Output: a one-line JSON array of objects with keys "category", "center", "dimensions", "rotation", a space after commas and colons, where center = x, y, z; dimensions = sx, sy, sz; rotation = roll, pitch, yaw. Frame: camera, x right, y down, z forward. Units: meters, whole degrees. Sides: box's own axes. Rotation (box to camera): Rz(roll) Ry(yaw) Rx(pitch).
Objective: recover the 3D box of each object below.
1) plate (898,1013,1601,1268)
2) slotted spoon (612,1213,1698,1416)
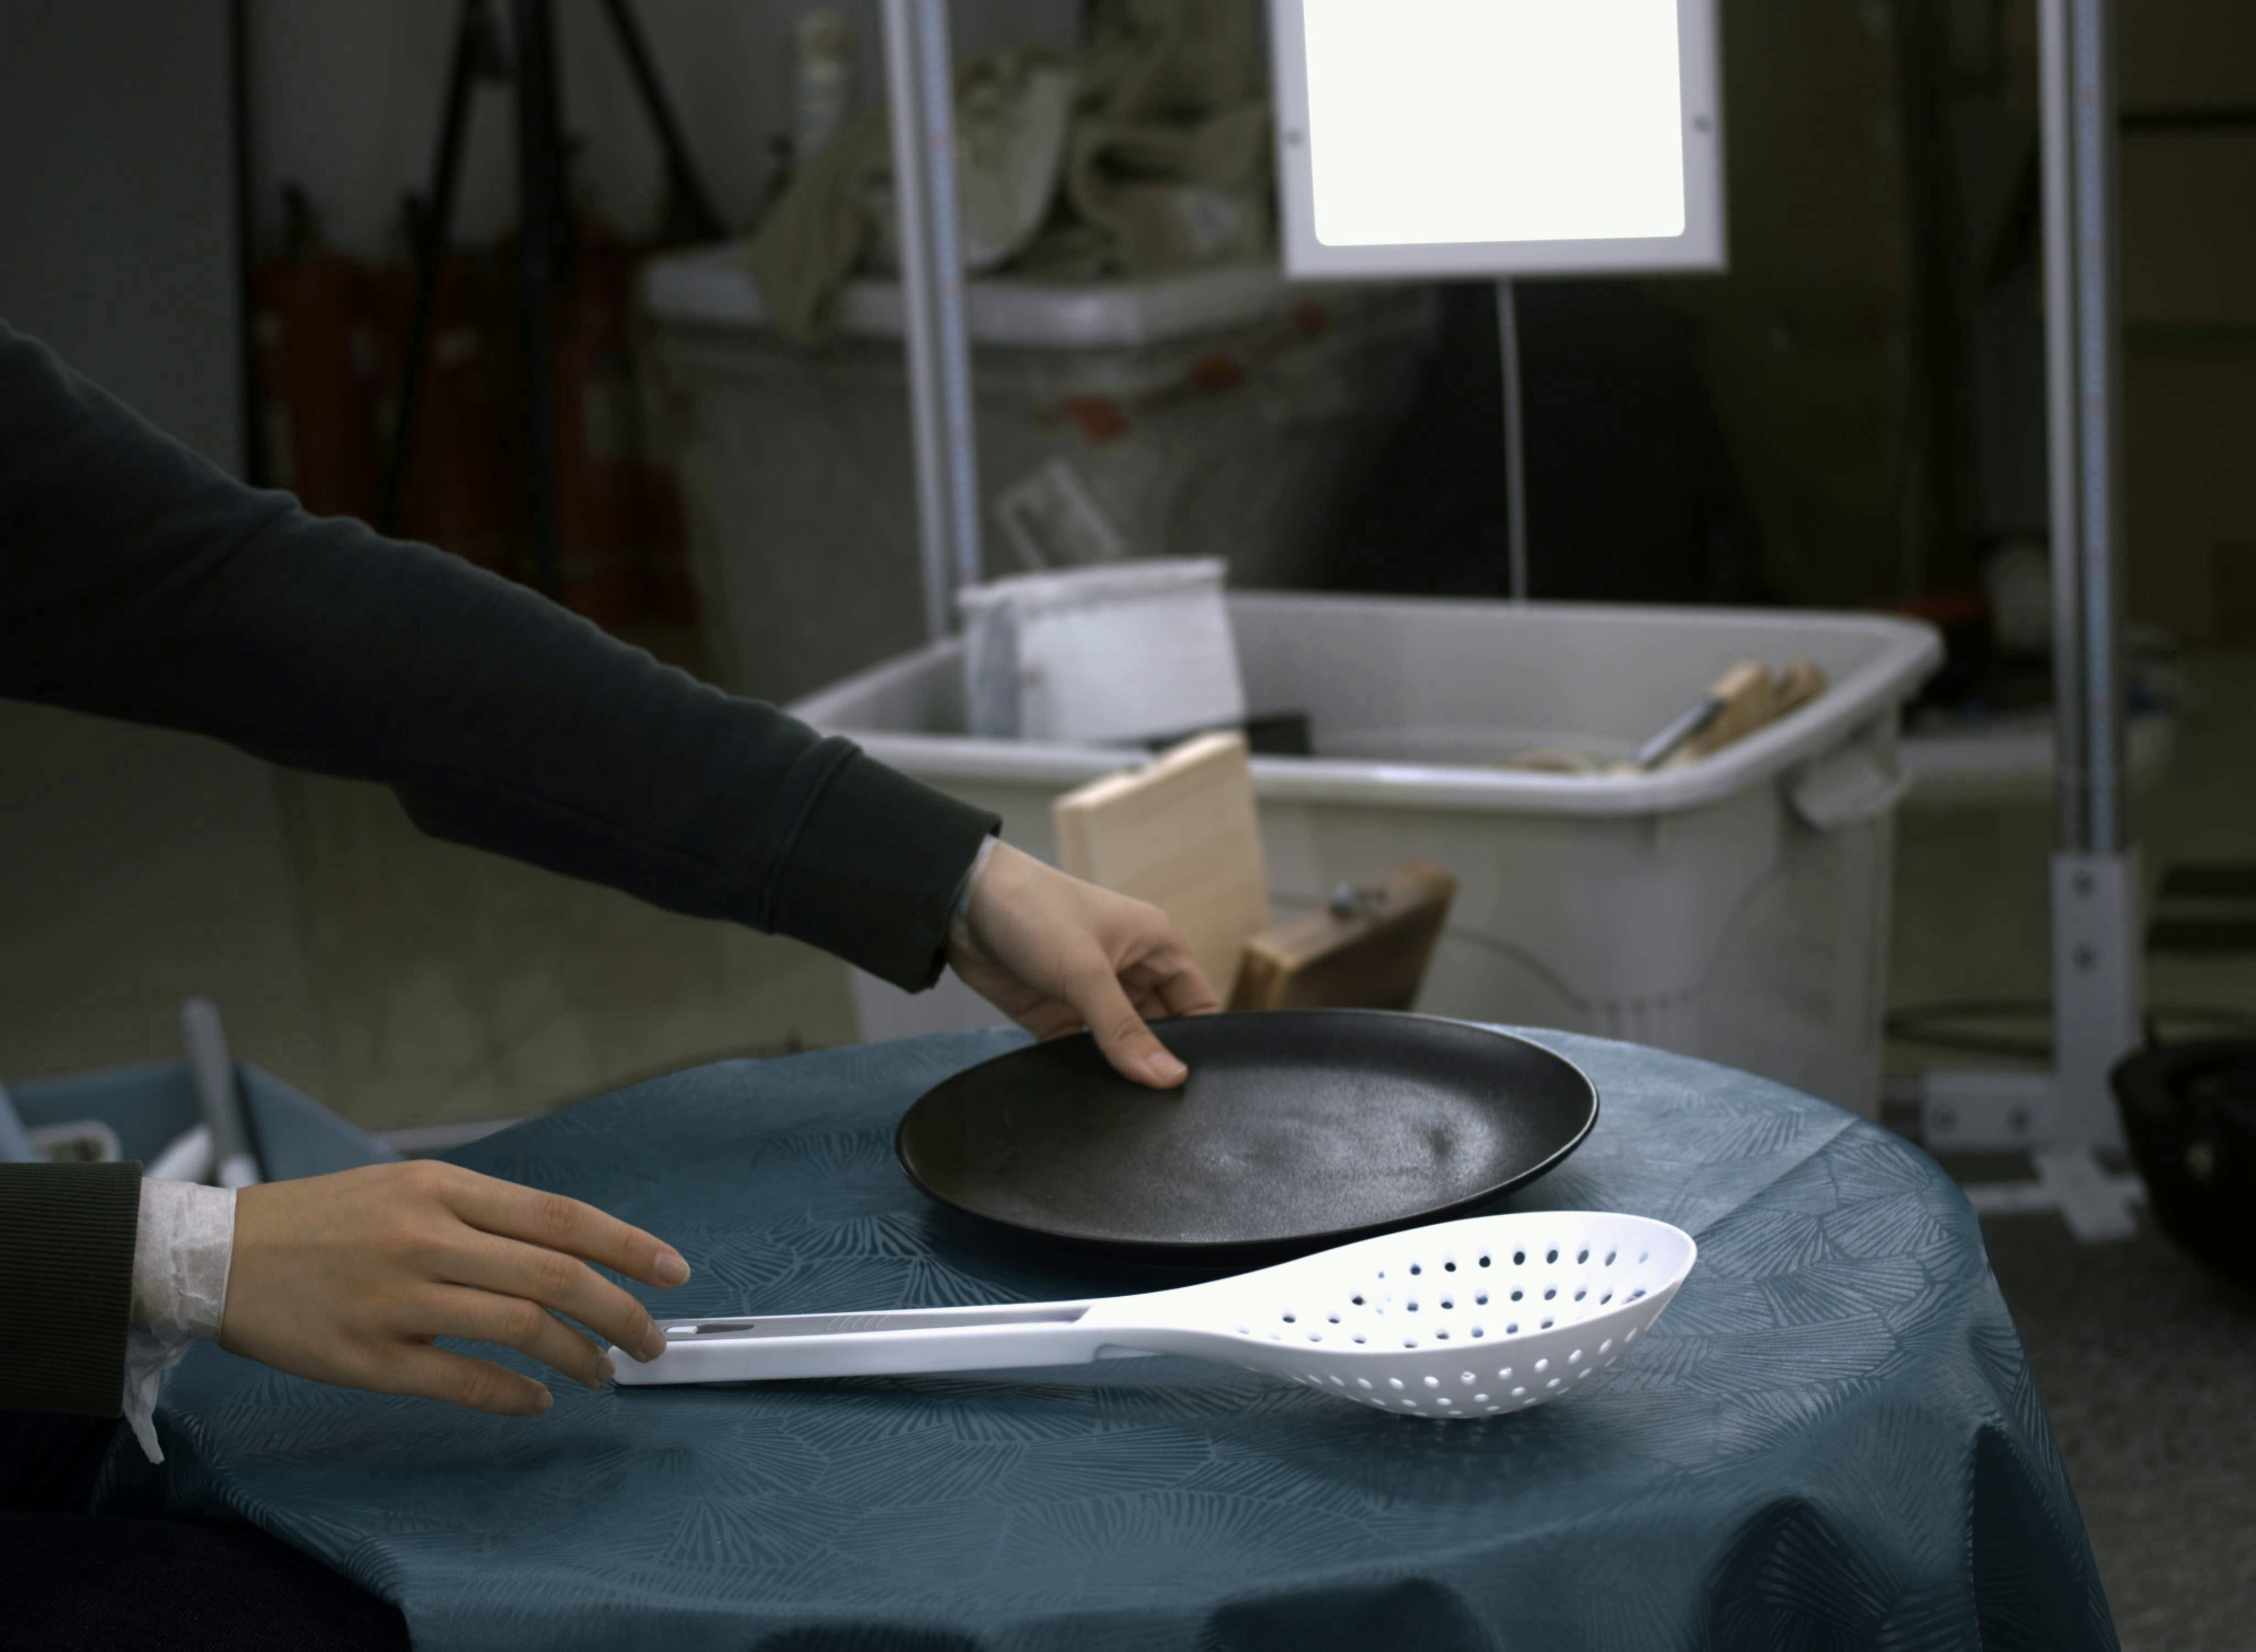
[{"category": "plate", "center": [0.042, 0.110, 1.889], "dimensions": [0.244, 0.023, 0.244], "rotation": [-5, 15, 0]}, {"category": "slotted spoon", "center": [0.004, 0.153, 1.693], "dimensions": [0.354, 0.046, 0.134], "rotation": [-1, 12, 20]}]
